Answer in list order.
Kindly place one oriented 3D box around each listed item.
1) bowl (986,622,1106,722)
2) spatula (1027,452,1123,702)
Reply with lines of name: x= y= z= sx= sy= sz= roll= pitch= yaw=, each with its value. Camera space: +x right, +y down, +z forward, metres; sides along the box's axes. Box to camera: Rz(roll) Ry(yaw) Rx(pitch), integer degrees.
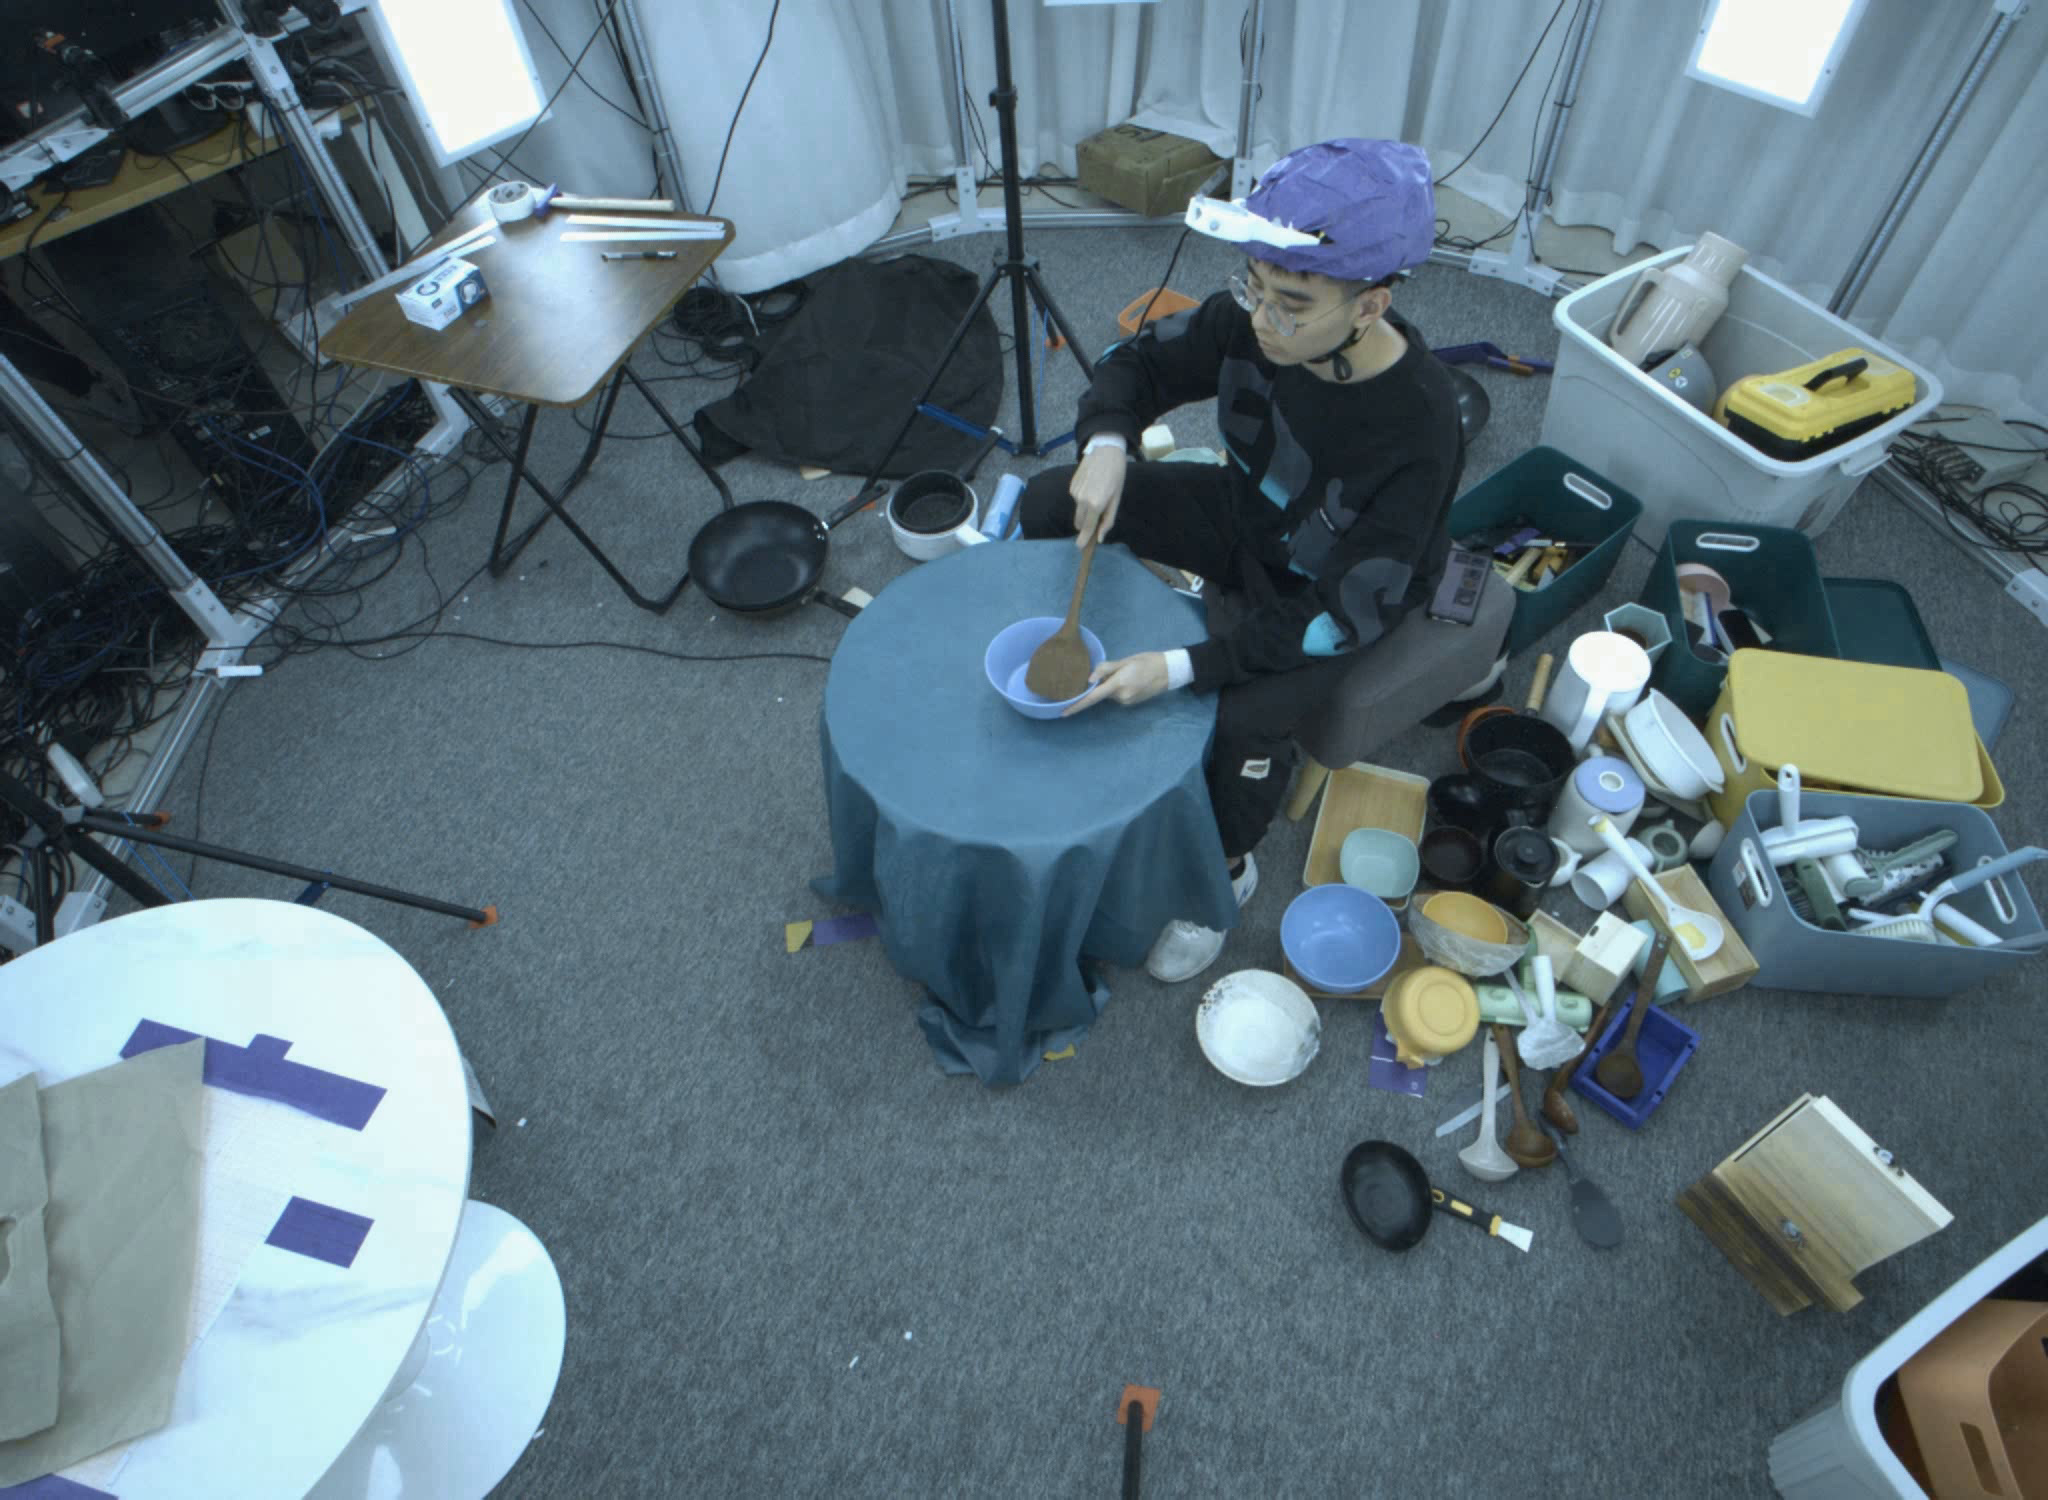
bowl: x=0.032 y=-0.106 z=1.823 sx=0.176 sy=0.071 sz=0.174 roll=1 pitch=52 yaw=0
spatula: x=0.090 y=-0.259 z=1.808 sx=0.095 sy=0.016 sz=0.385 roll=13 pitch=88 yaw=13
